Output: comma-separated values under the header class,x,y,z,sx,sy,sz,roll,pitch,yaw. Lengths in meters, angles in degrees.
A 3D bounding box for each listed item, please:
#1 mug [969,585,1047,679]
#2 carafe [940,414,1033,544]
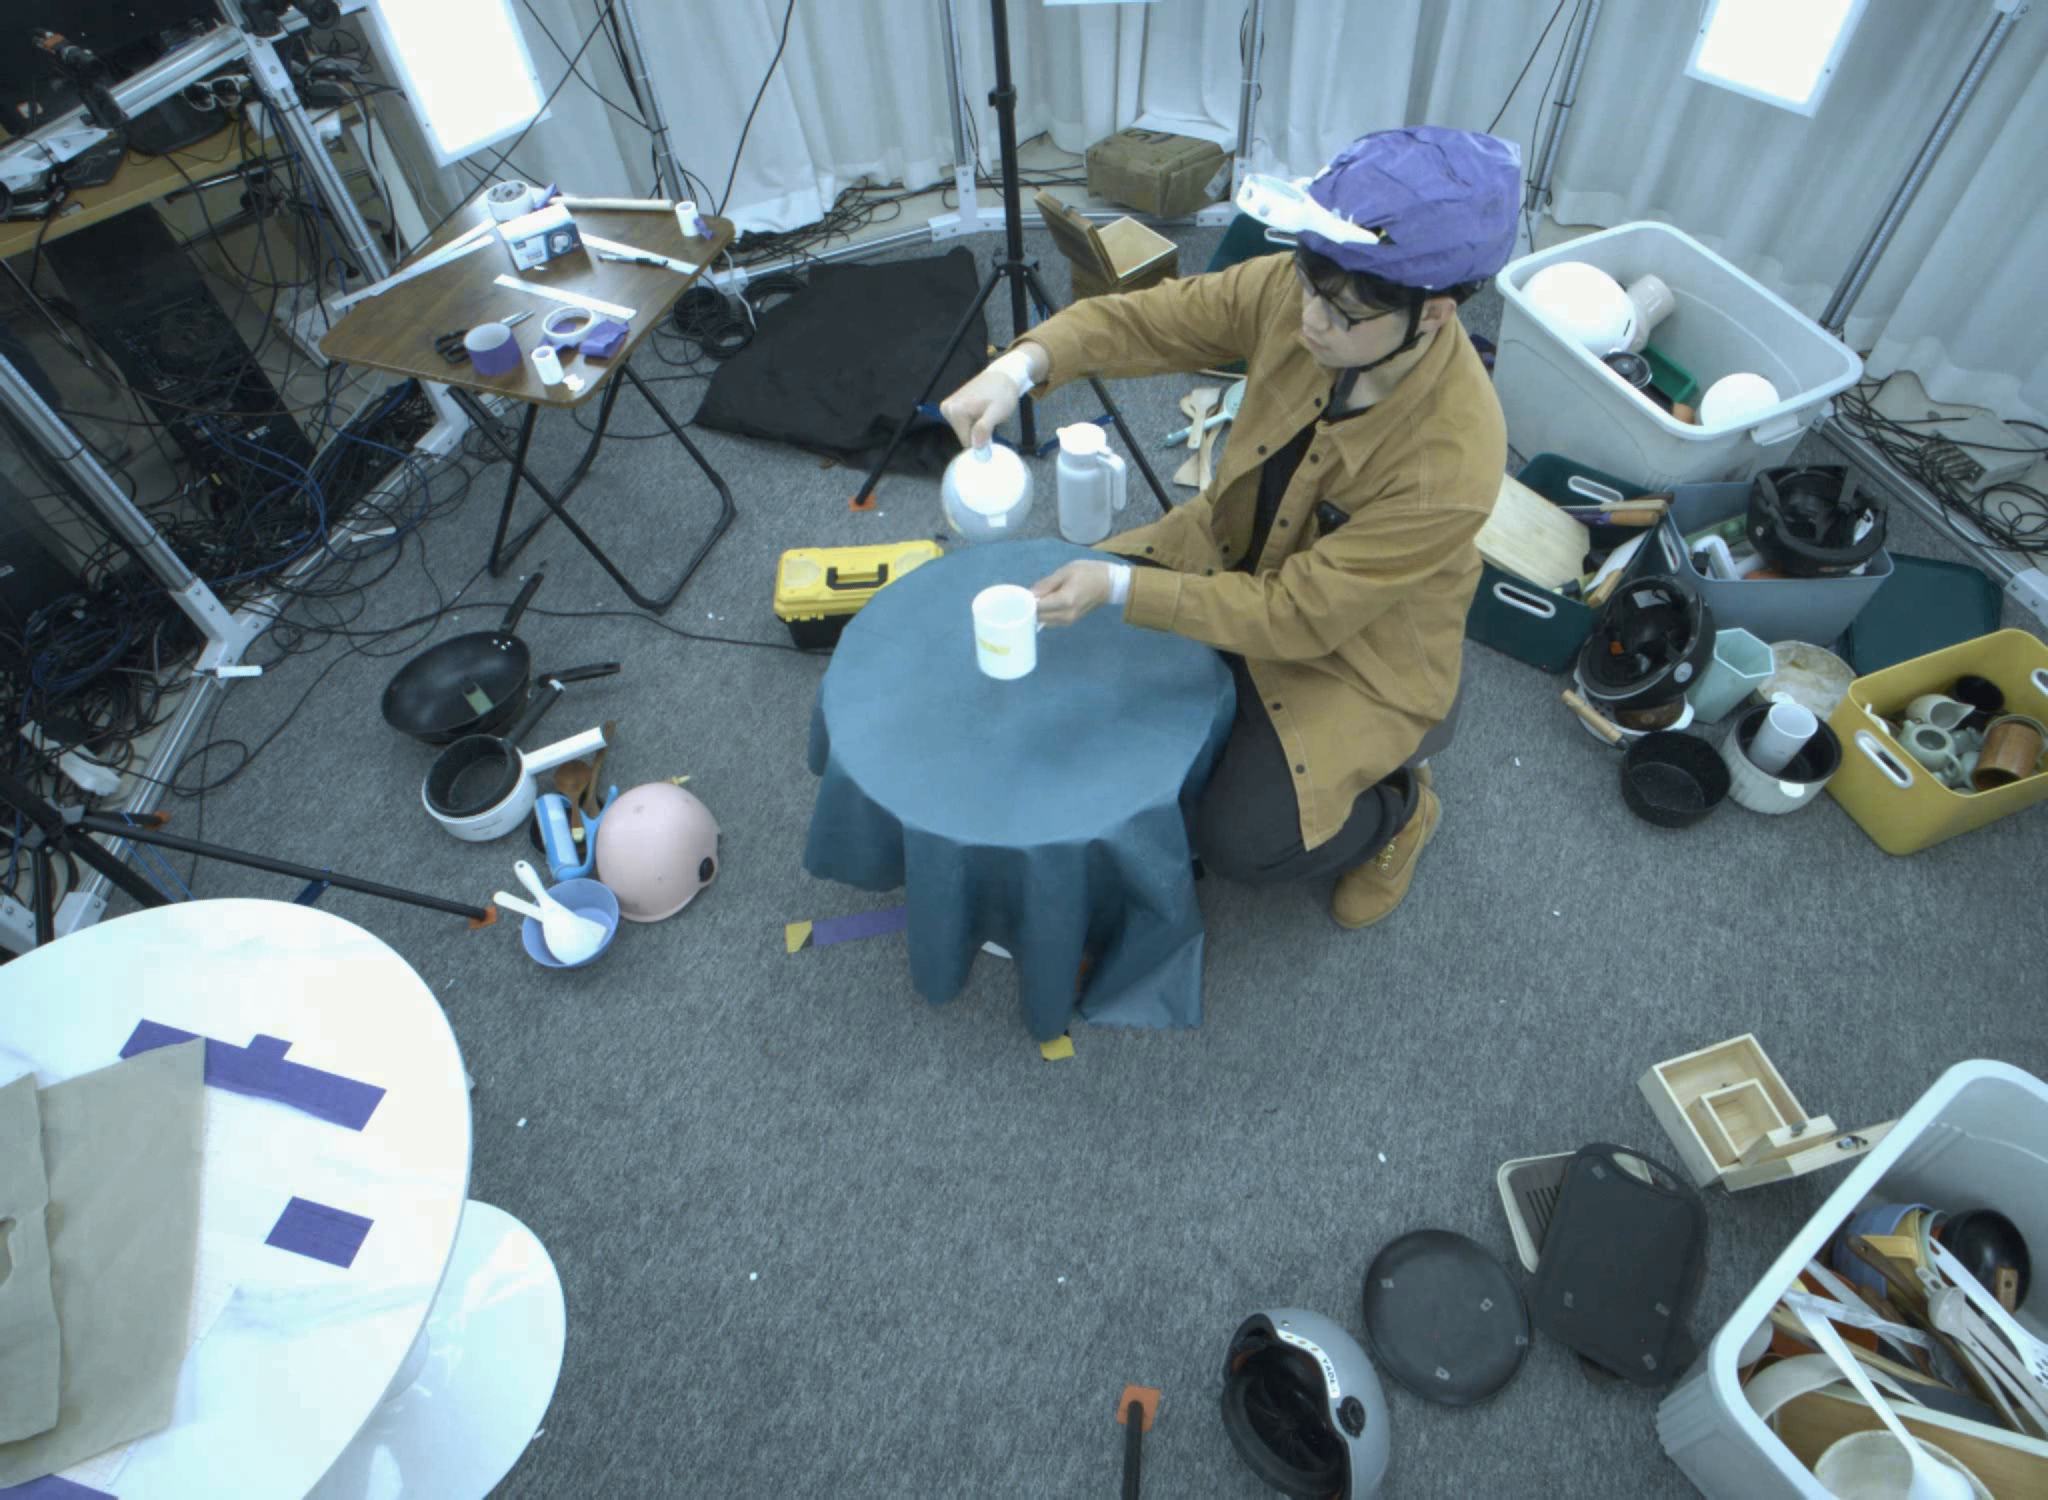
class,x,y,z,sx,sy,sz,roll,pitch,yaw
mug,-0.016,-0.167,1.673,0.083,0.103,0.119,34,58,31
carafe,-0.058,-0.376,1.674,0.133,0.247,0.168,-13,96,-1
